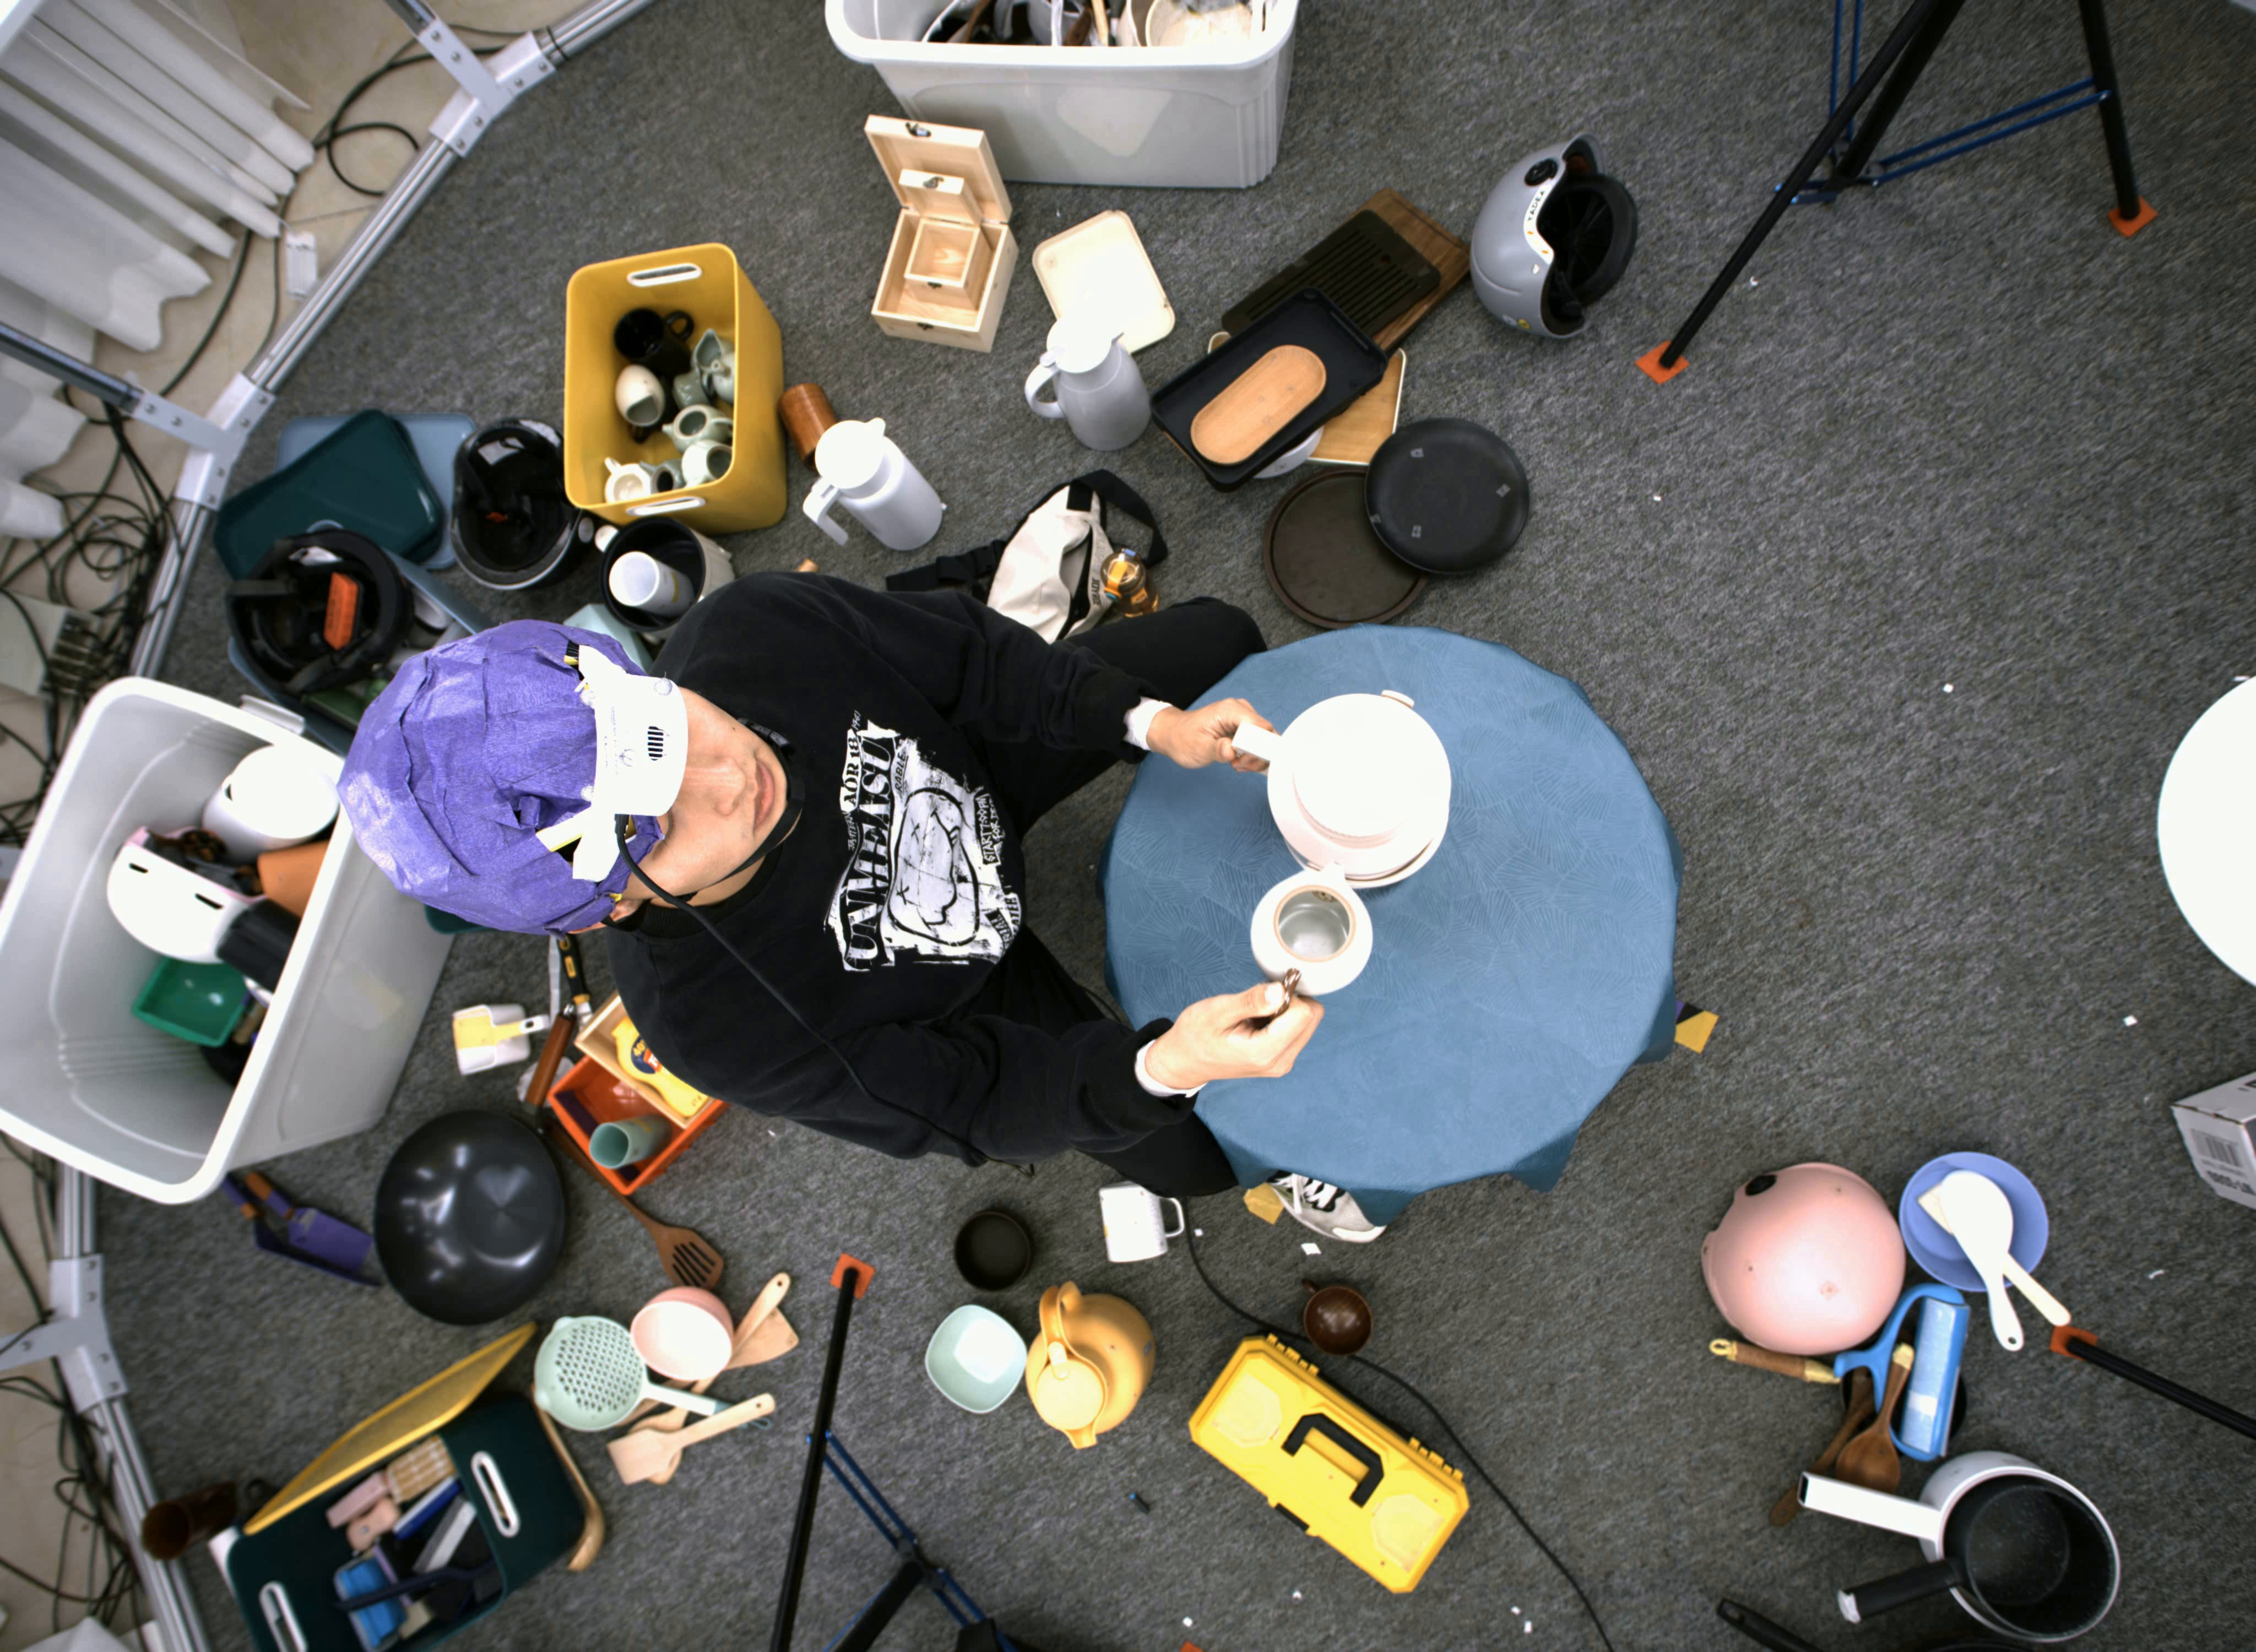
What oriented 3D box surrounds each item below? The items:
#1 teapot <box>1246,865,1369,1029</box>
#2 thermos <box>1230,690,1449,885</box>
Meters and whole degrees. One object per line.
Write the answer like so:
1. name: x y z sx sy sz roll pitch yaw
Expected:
1. teapot: 0.131 0.093 1.039 0.092 0.060 0.126 21 74 6
2. thermos: 0.199 -0.038 1.277 0.207 0.405 0.175 24 92 9
